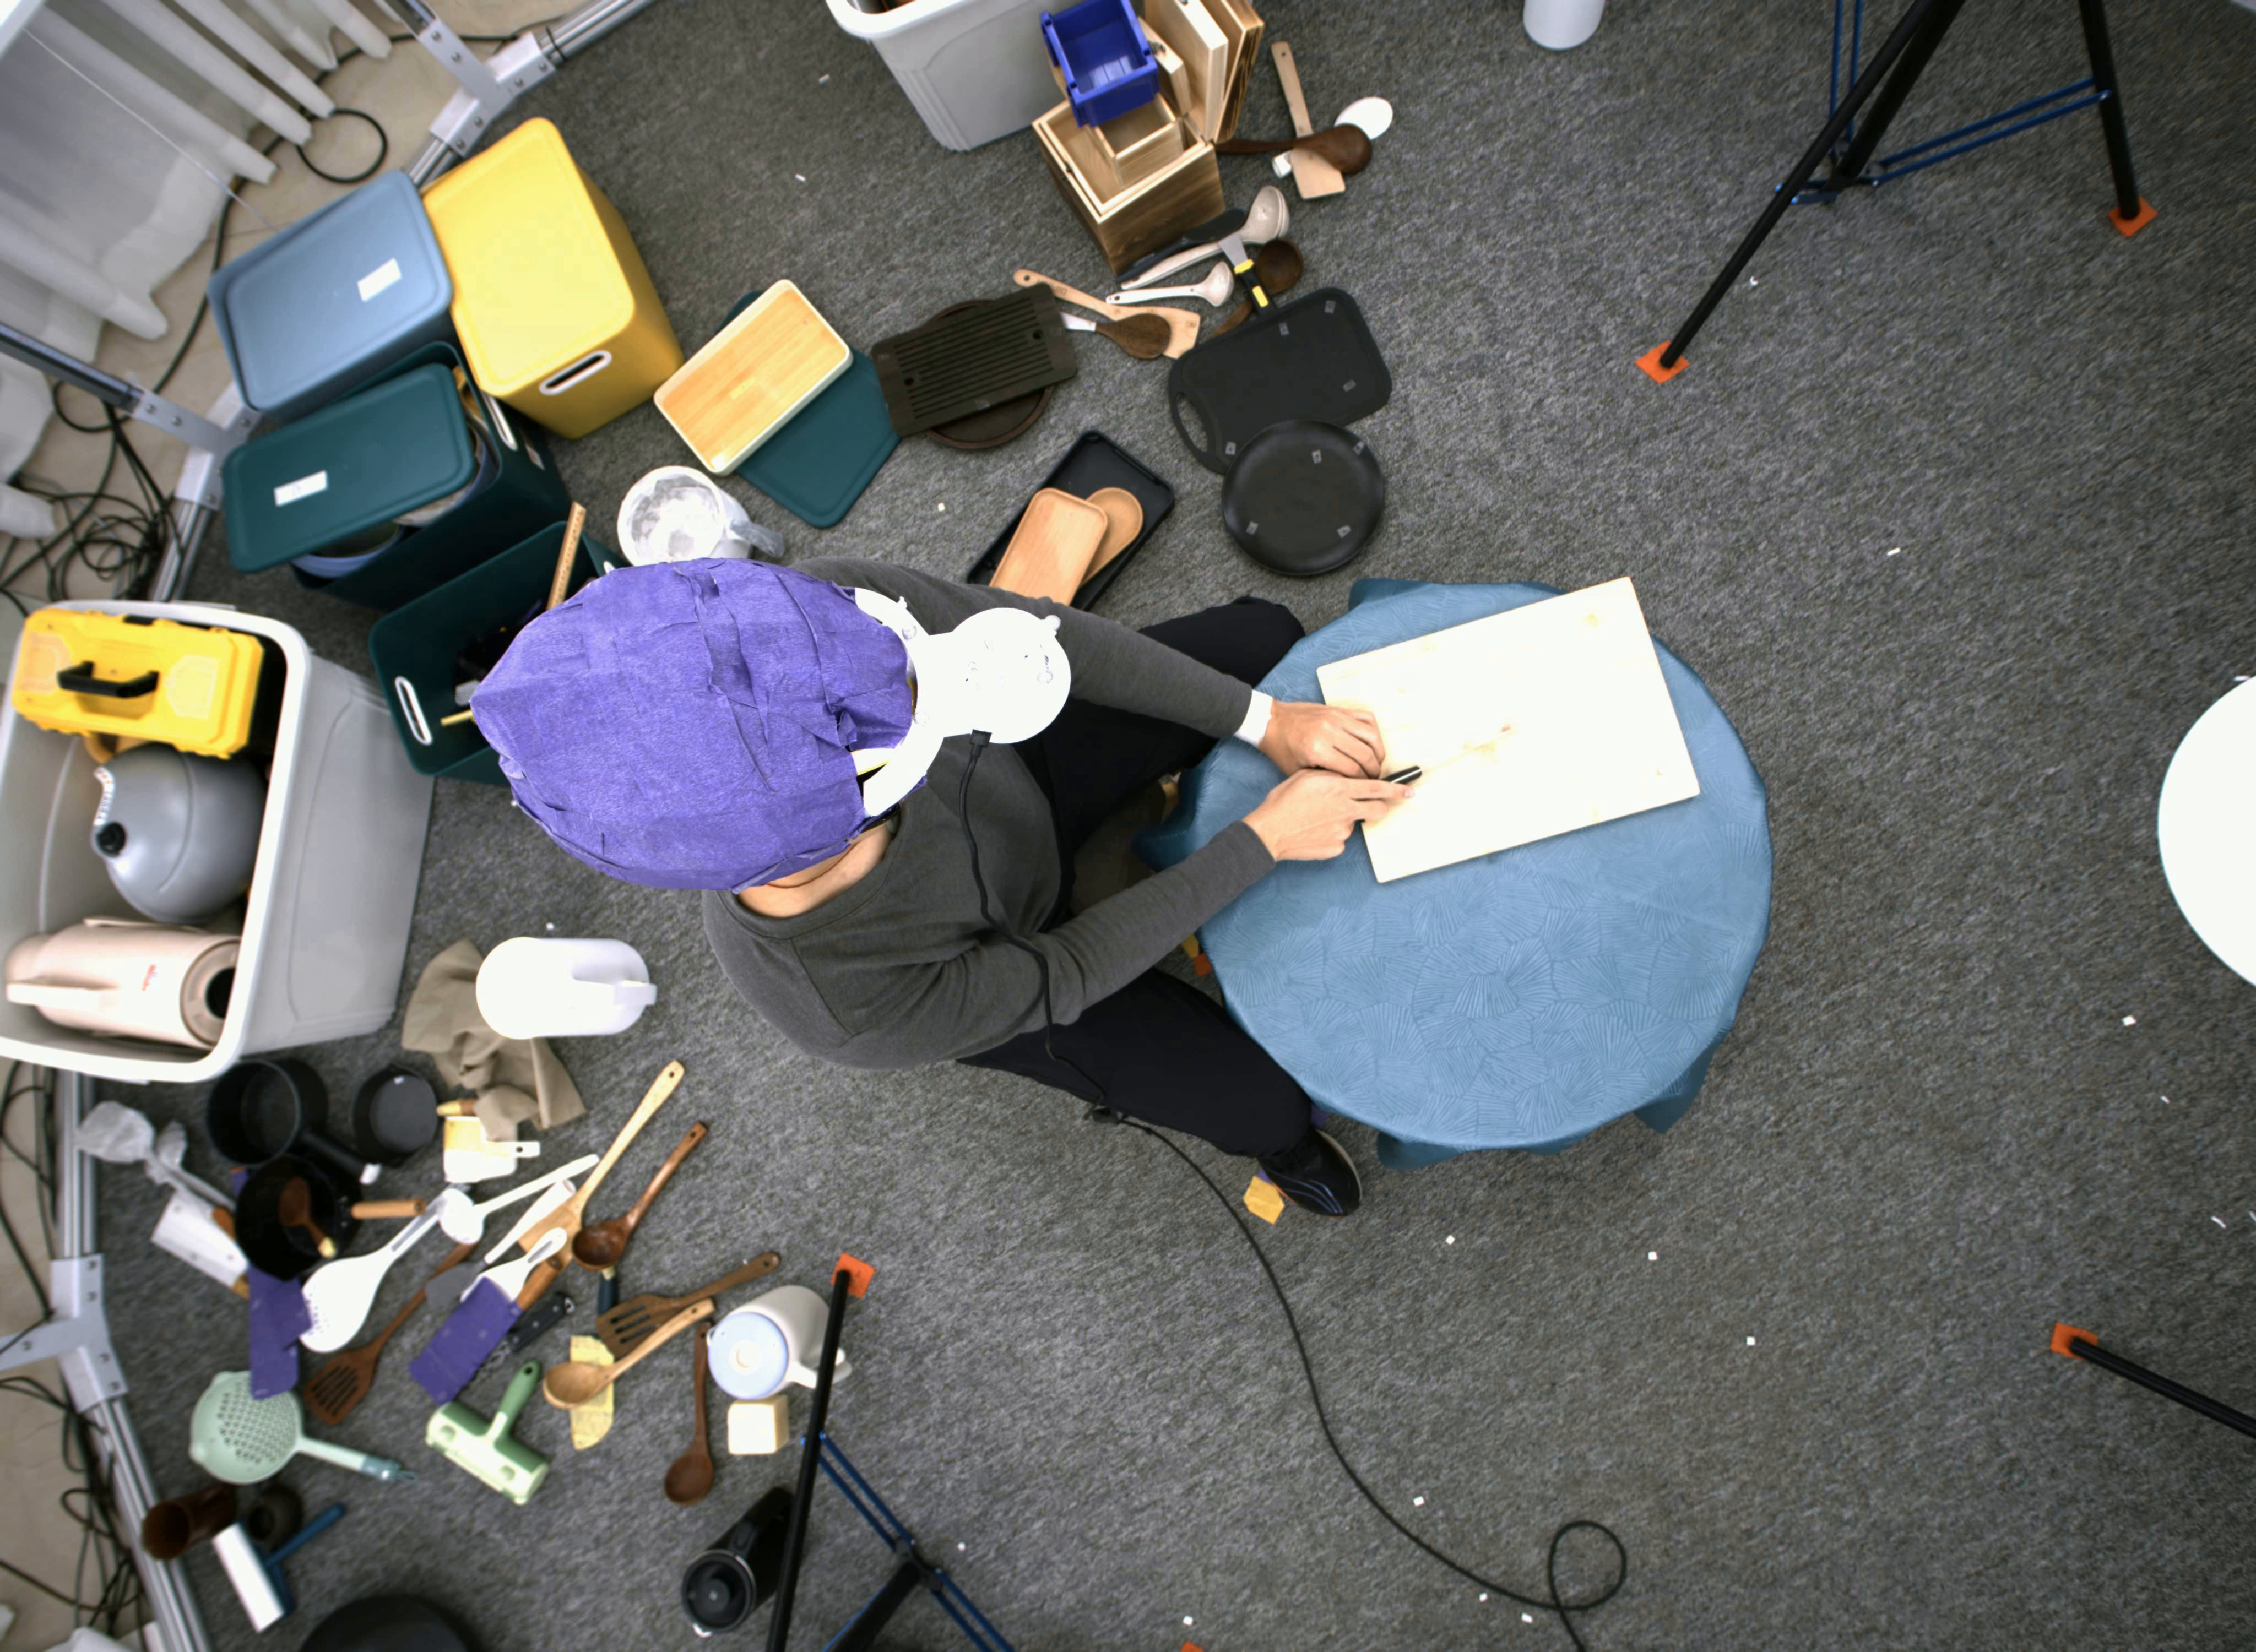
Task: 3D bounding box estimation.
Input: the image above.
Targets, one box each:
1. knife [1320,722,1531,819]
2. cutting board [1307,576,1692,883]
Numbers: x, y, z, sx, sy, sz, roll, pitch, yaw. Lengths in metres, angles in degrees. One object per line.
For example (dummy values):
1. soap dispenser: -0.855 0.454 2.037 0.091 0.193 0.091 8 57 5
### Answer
1. knife: 0.309 -0.062 1.425 0.239 0.024 0.016 -24 80 4
2. cutting board: 0.388 -0.102 1.440 0.350 0.023 0.249 -17 83 9
